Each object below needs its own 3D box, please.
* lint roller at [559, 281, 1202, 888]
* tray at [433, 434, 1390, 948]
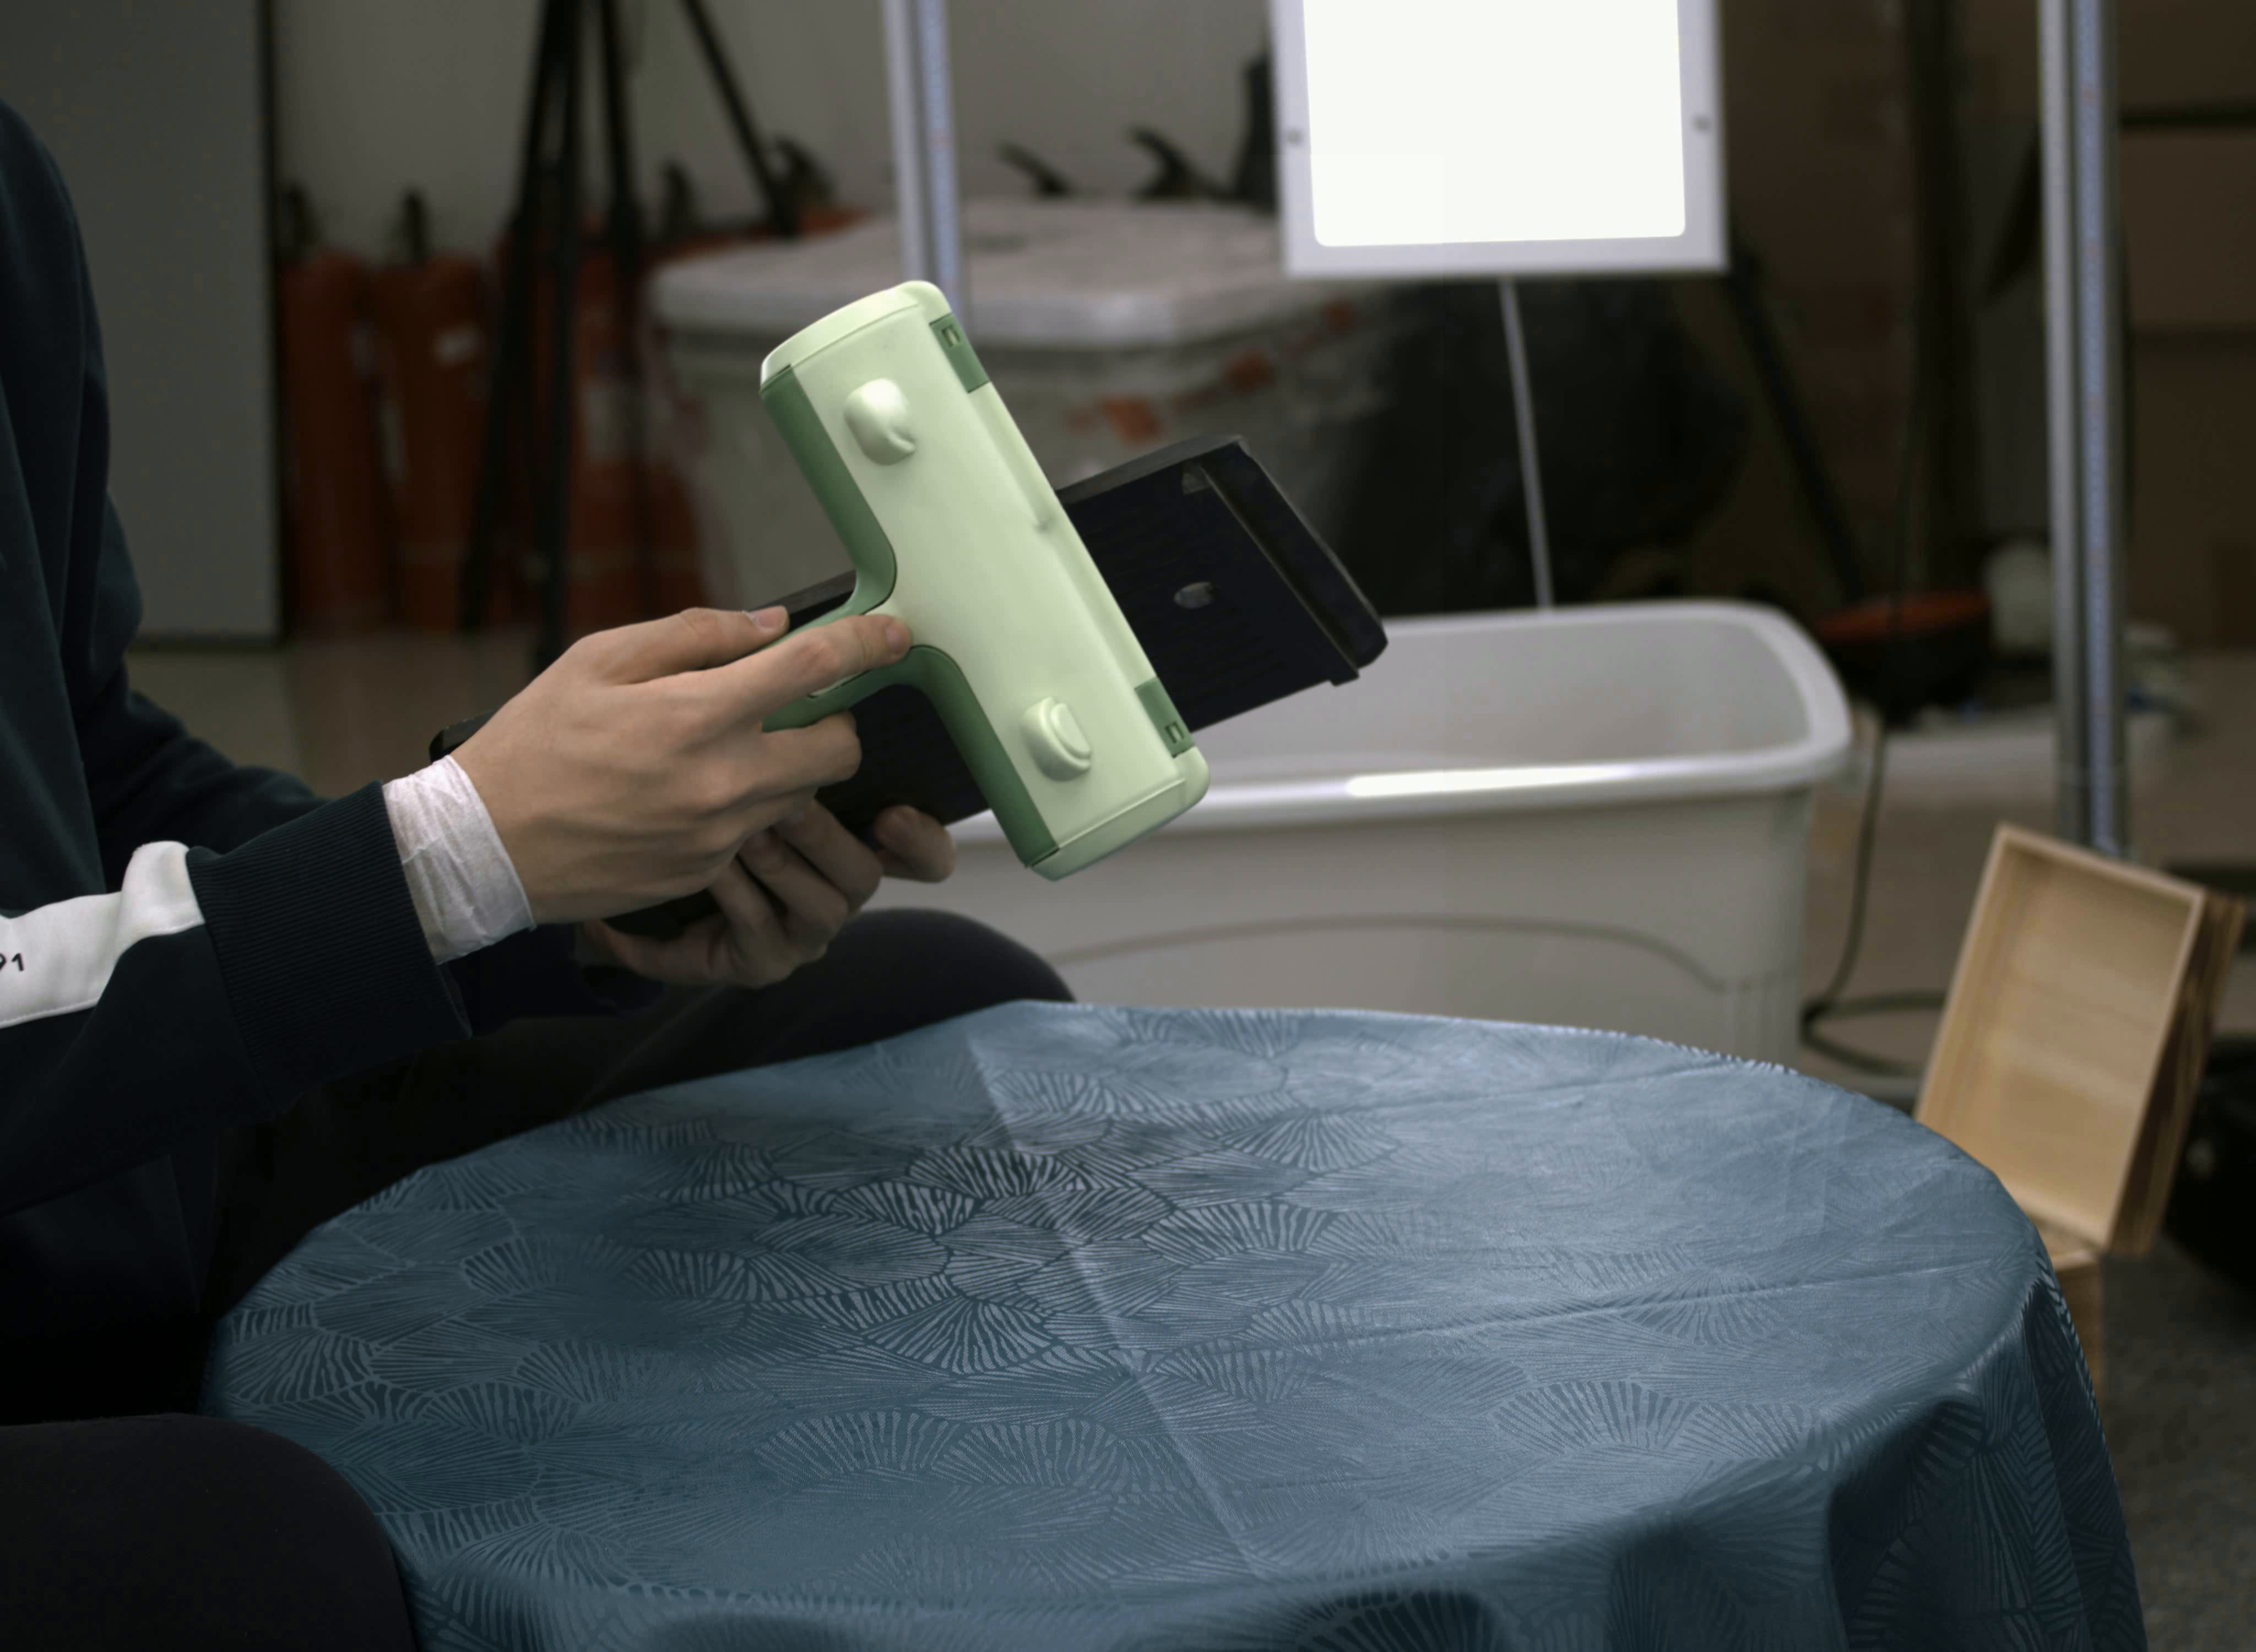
[{"bbox_3d":[-0.098,-0.052,1.756,0.181,0.199,0.083,-29,-3,-11],"label":"lint roller"},{"bbox_3d":[-0.071,-0.039,1.900,0.309,0.018,0.168,-21,-30,15],"label":"tray"}]
